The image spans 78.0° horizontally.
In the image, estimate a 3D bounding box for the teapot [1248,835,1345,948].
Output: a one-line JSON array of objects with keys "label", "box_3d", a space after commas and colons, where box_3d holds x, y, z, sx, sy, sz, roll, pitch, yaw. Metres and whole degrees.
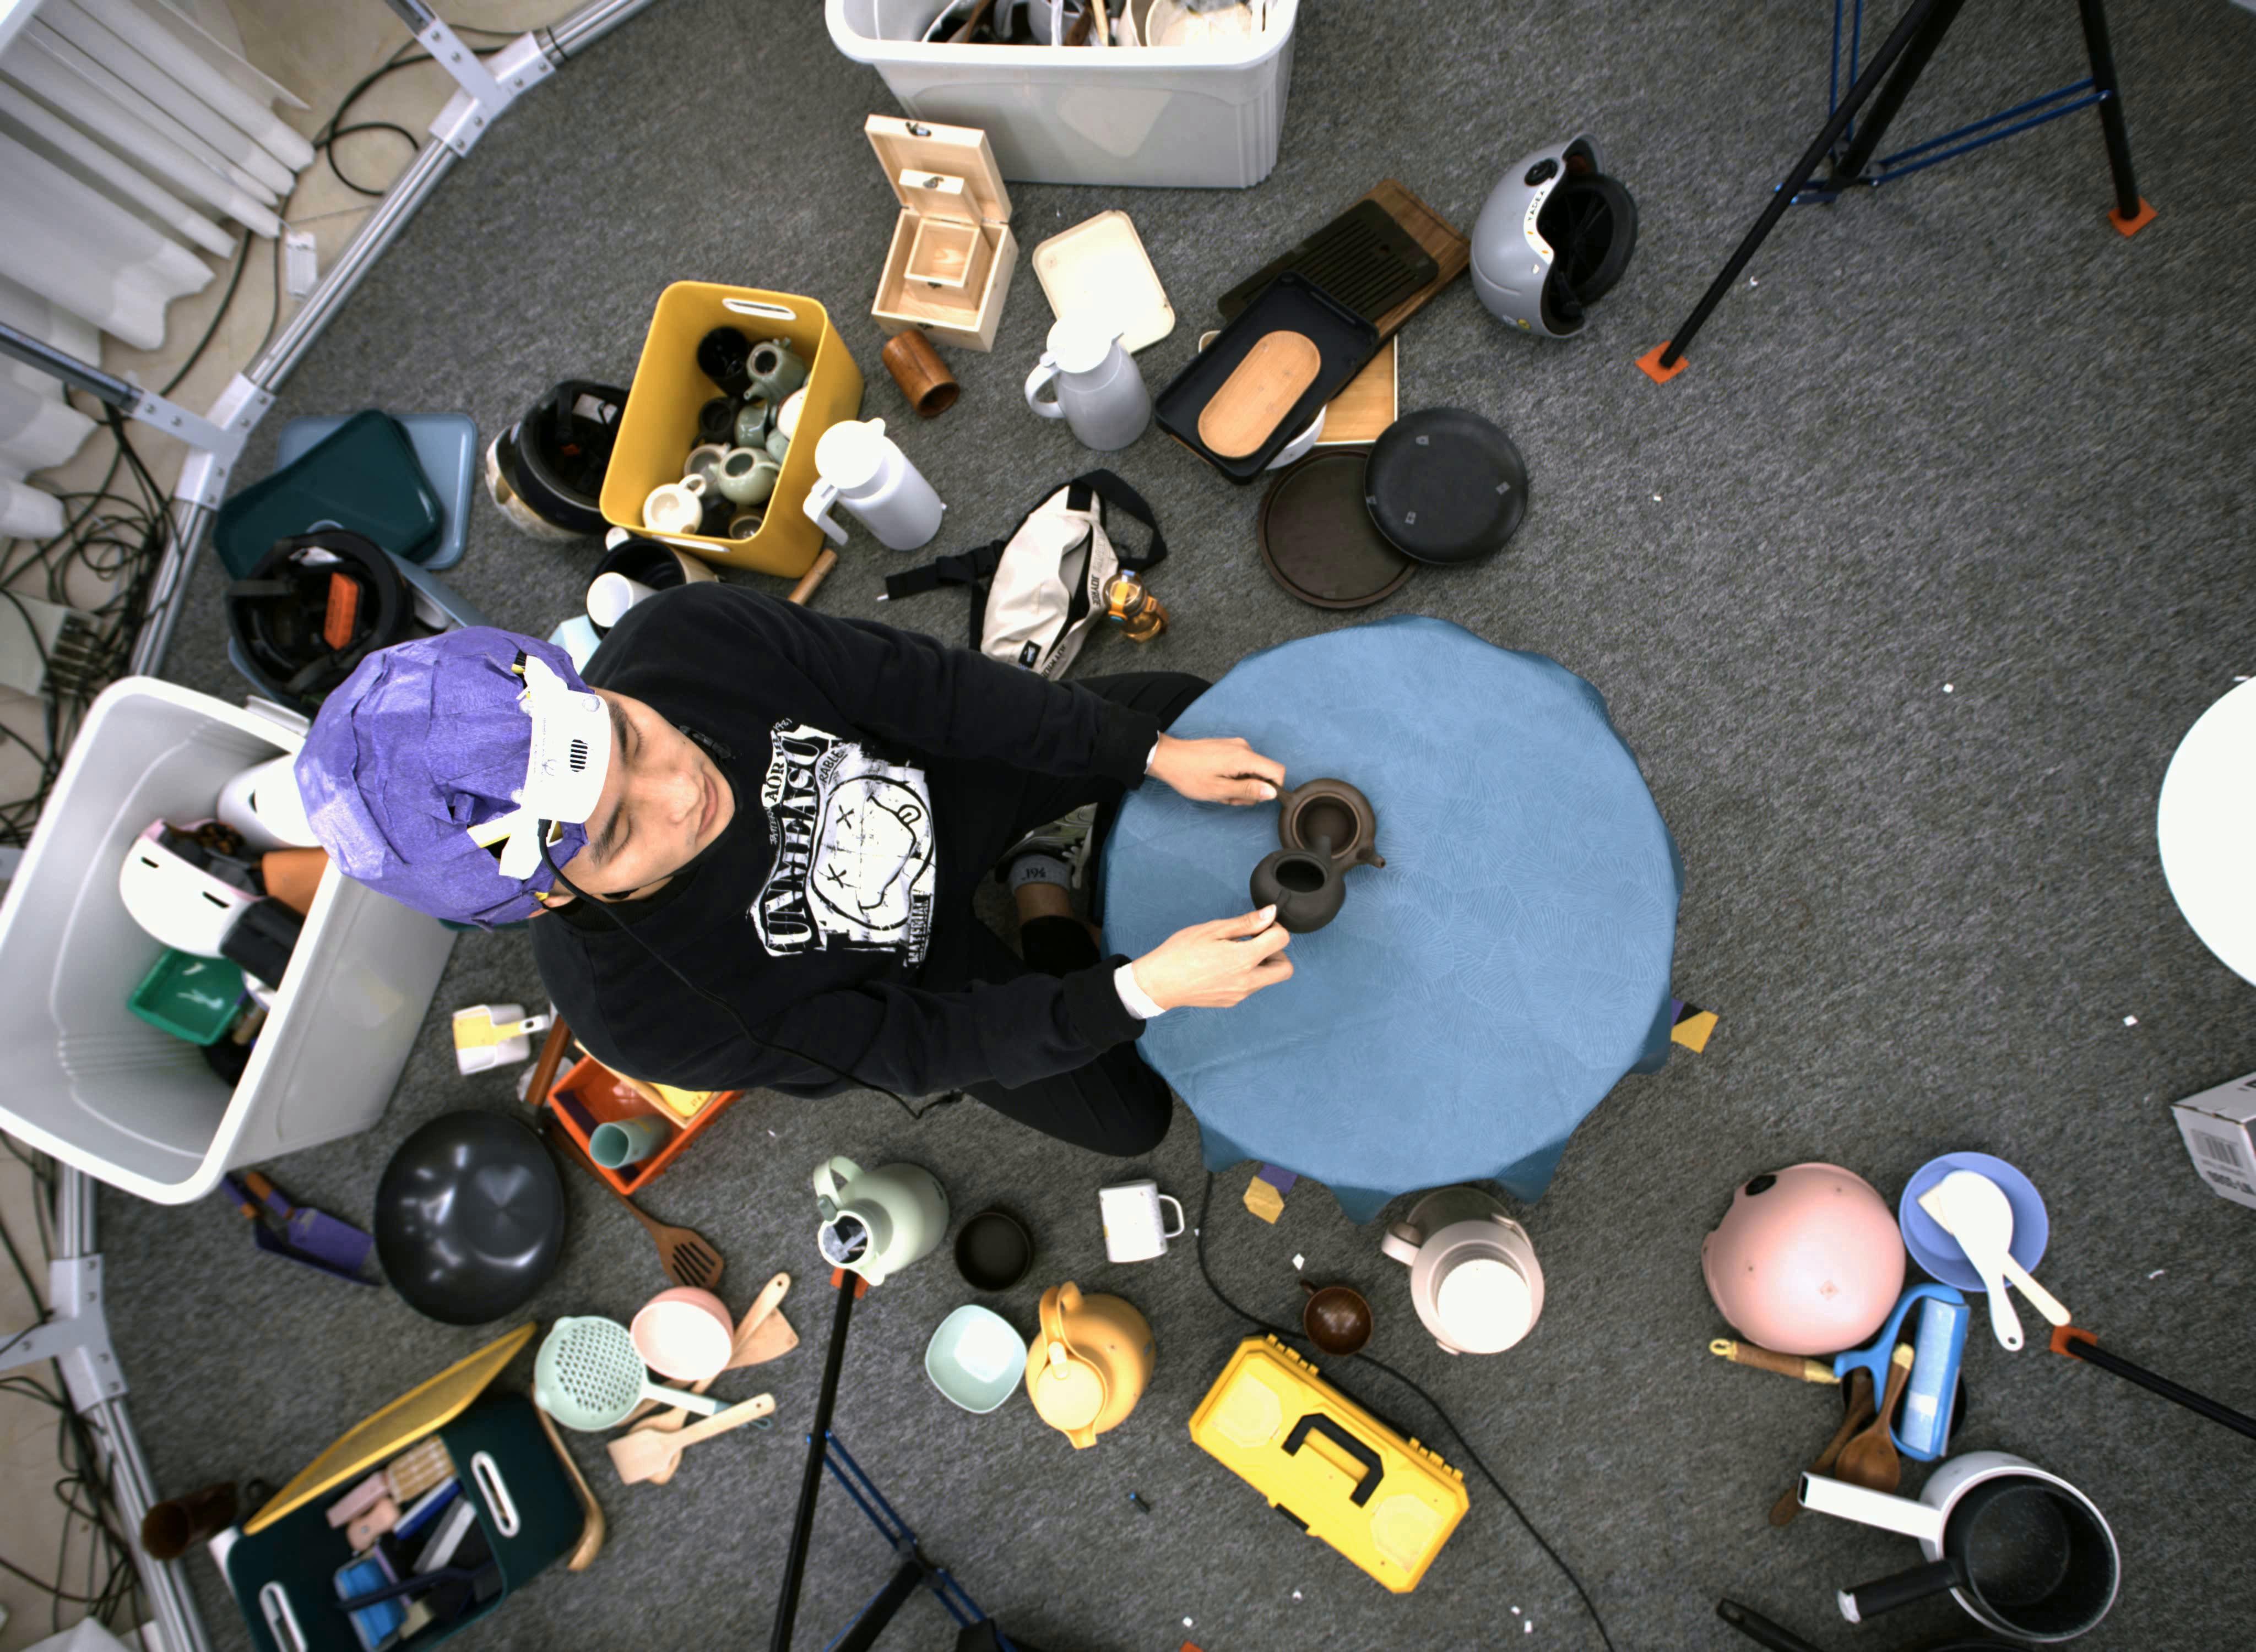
[{"label": "teapot", "box_3d": [0.163, 0.066, 1.353, 0.092, 0.066, 0.150, 24, 48, 22]}]

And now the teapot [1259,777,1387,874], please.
[{"label": "teapot", "box_3d": [0.204, -0.003, 1.448, 0.153, 0.054, 0.103, 30, 94, 7]}]
